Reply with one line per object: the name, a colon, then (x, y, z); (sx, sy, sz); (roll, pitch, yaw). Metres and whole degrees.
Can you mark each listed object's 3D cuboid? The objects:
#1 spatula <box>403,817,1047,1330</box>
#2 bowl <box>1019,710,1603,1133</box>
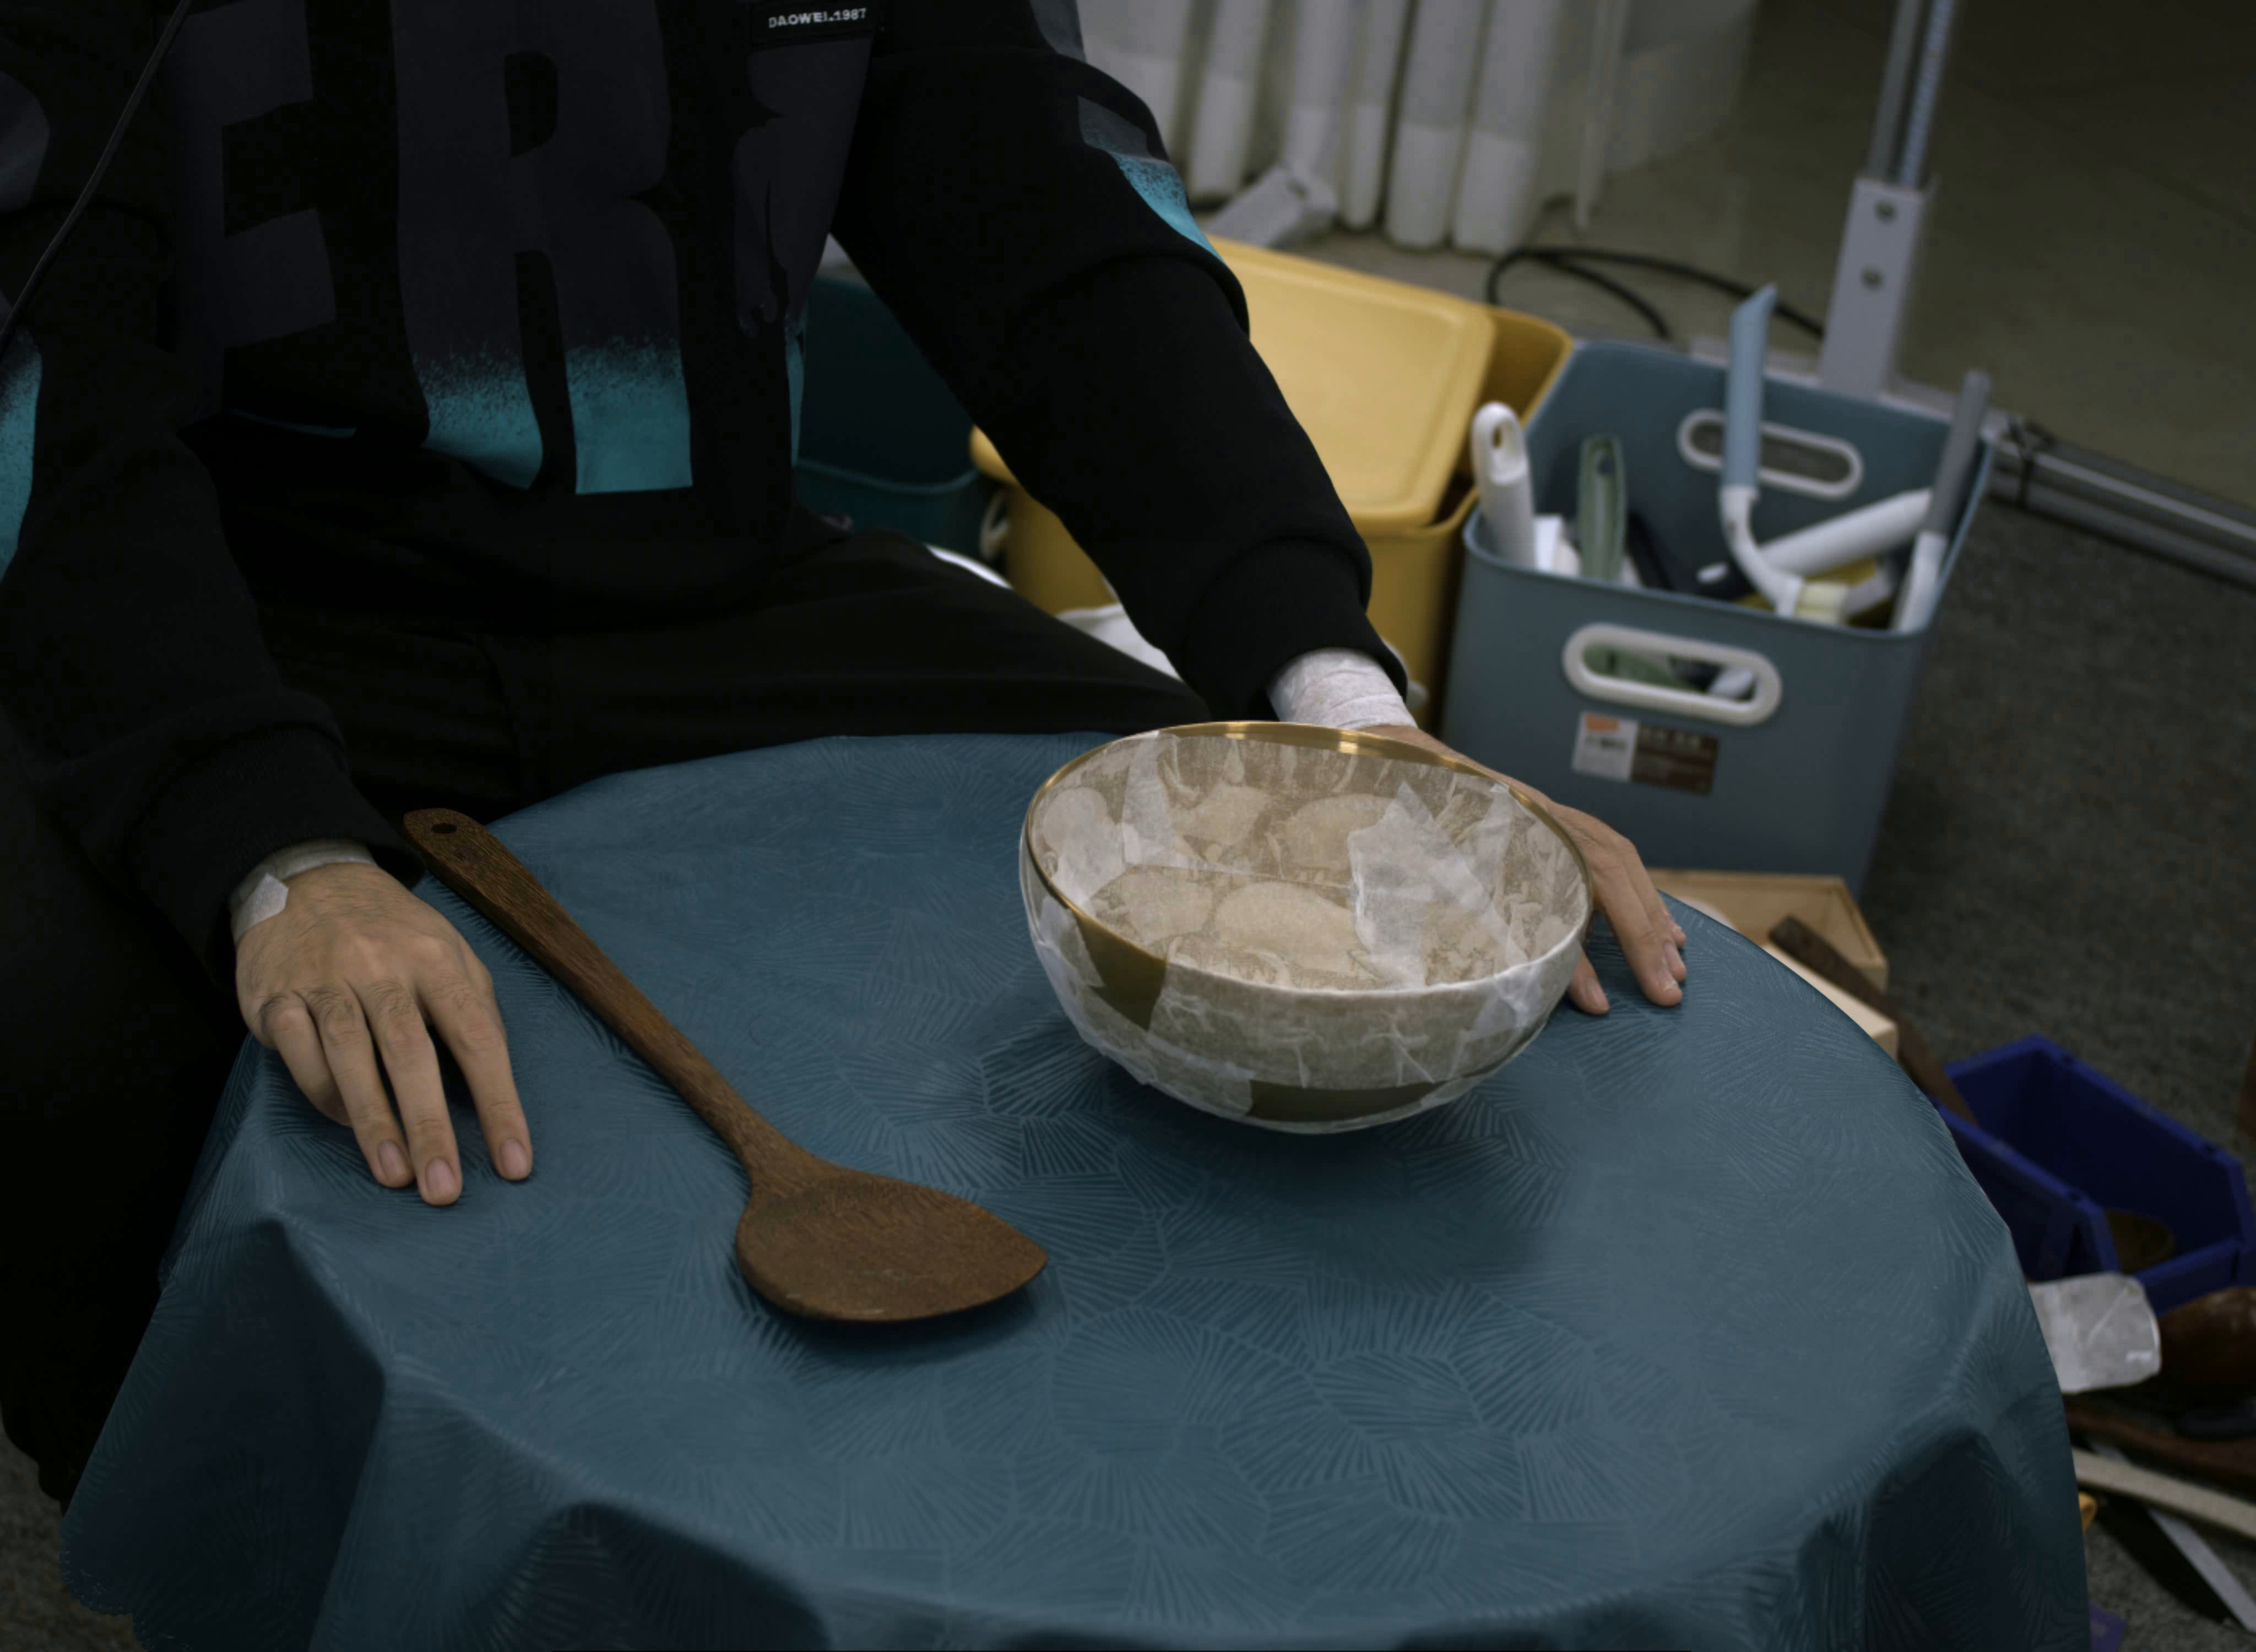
spatula: (-0.160, 0.077, 1.842); (0.095, 0.016, 0.389); (-11, 31, -31)
bowl: (0.061, 0.046, 1.864); (0.214, 0.094, 0.216); (4, 27, -2)
